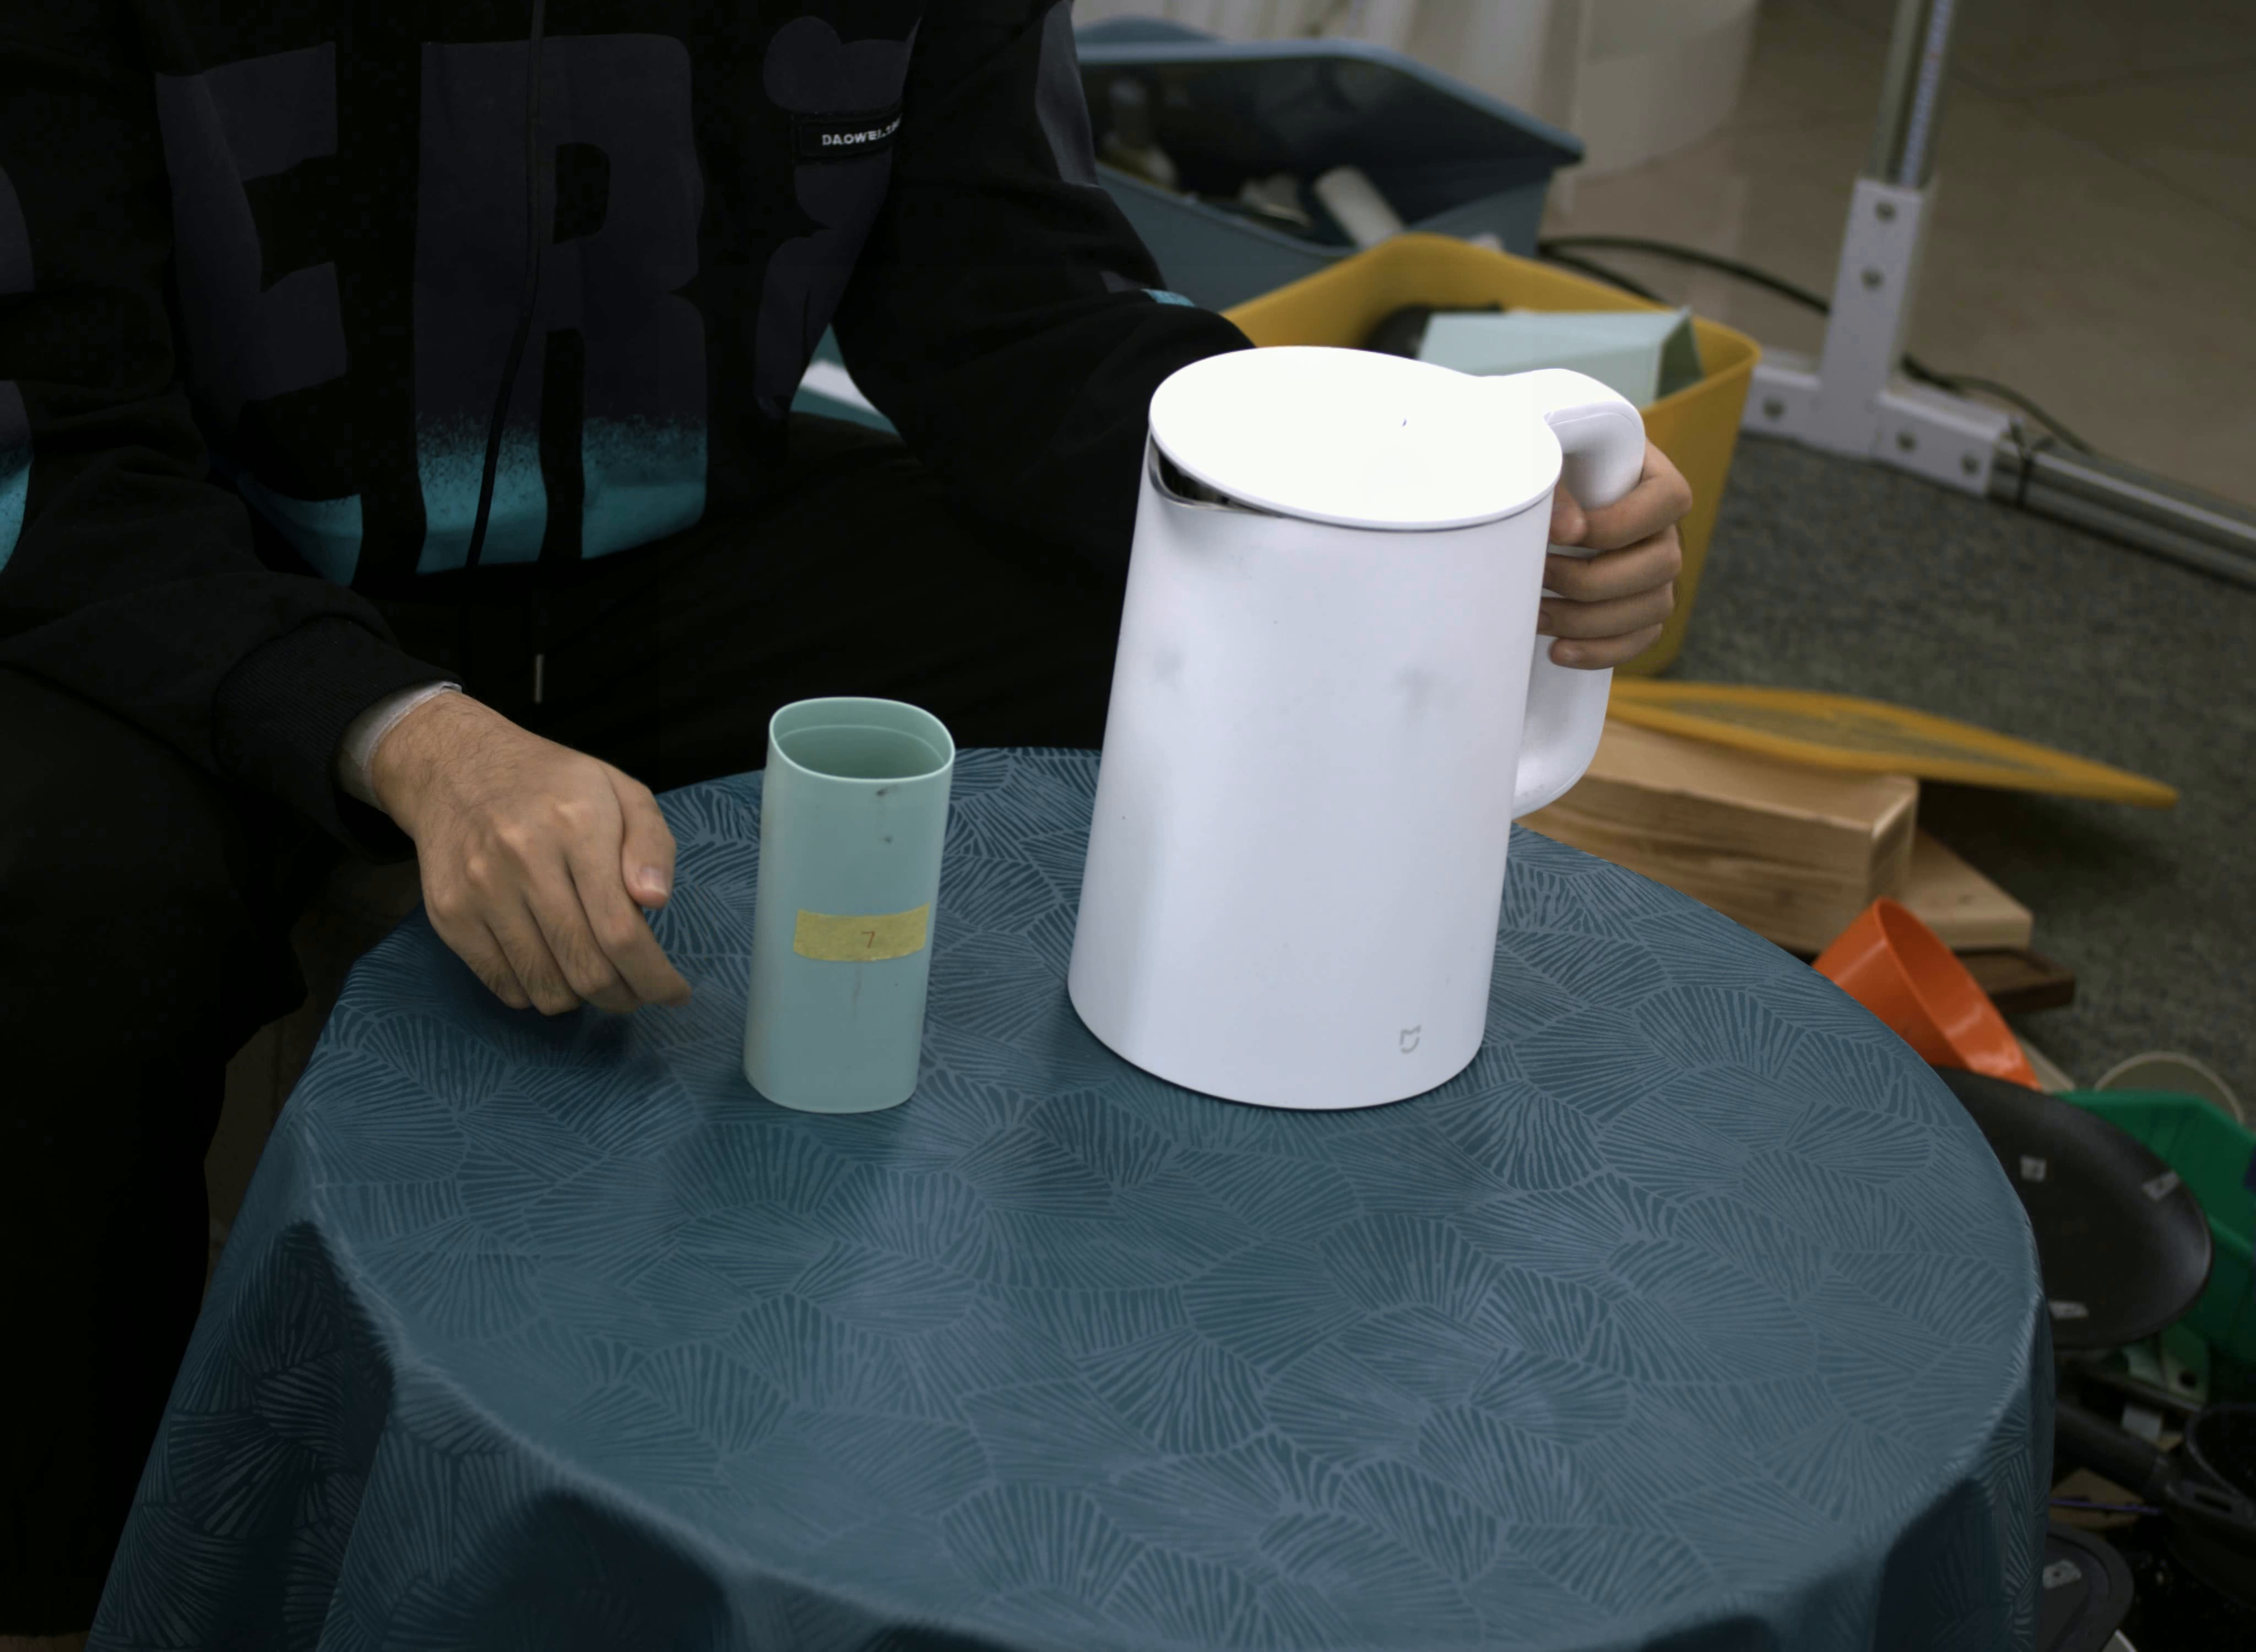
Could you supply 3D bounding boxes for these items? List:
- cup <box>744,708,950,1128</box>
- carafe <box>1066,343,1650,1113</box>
[{"bbox_3d":[-0.097,0.031,1.823,0.066,0.132,0.067,5,27,-3],"label":"cup"},{"bbox_3d":[0.087,-0.040,1.886,0.212,0.239,0.153,-14,34,-34],"label":"carafe"}]
